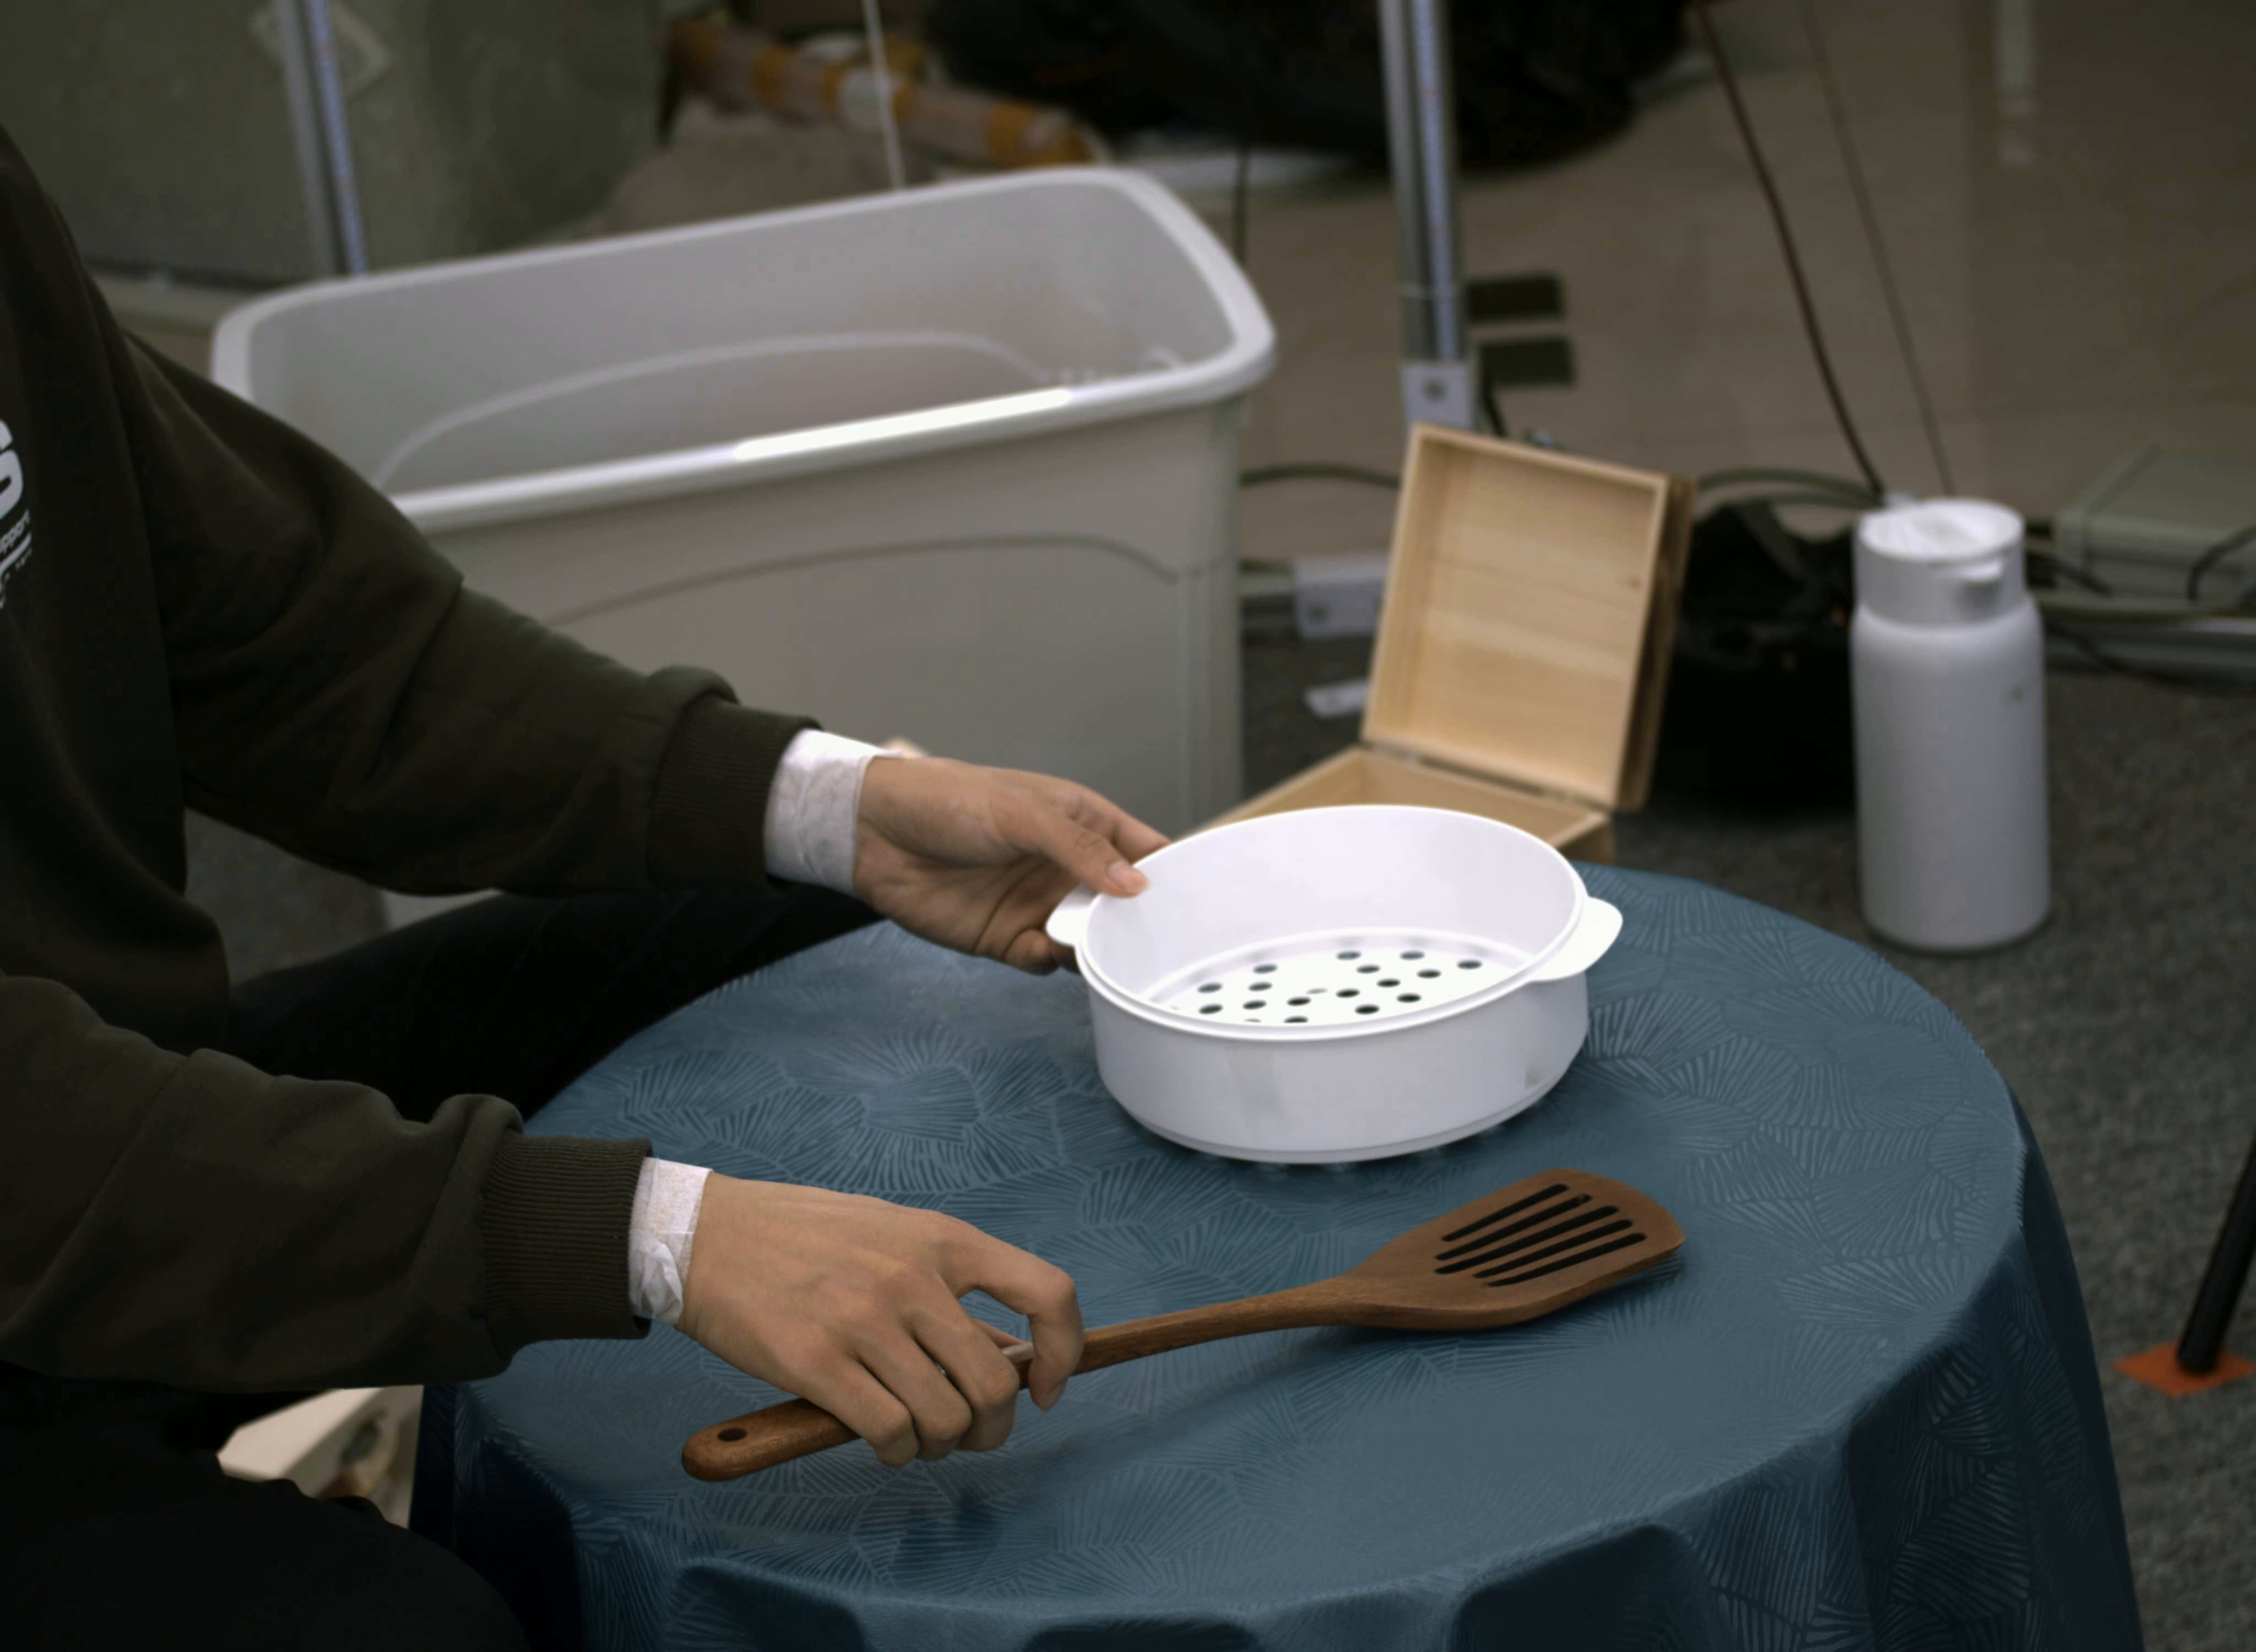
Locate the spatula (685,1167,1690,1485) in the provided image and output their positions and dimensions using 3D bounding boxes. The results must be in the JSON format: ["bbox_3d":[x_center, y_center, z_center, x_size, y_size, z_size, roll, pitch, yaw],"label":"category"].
[{"bbox_3d":[0.022,0.181,2.002,0.384,0.024,0.085,-12,23,-25],"label":"spatula"}]

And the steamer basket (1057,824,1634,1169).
[{"bbox_3d":[0.087,0.066,2.212,0.230,0.070,0.199,1,23,23],"label":"steamer basket"}]
